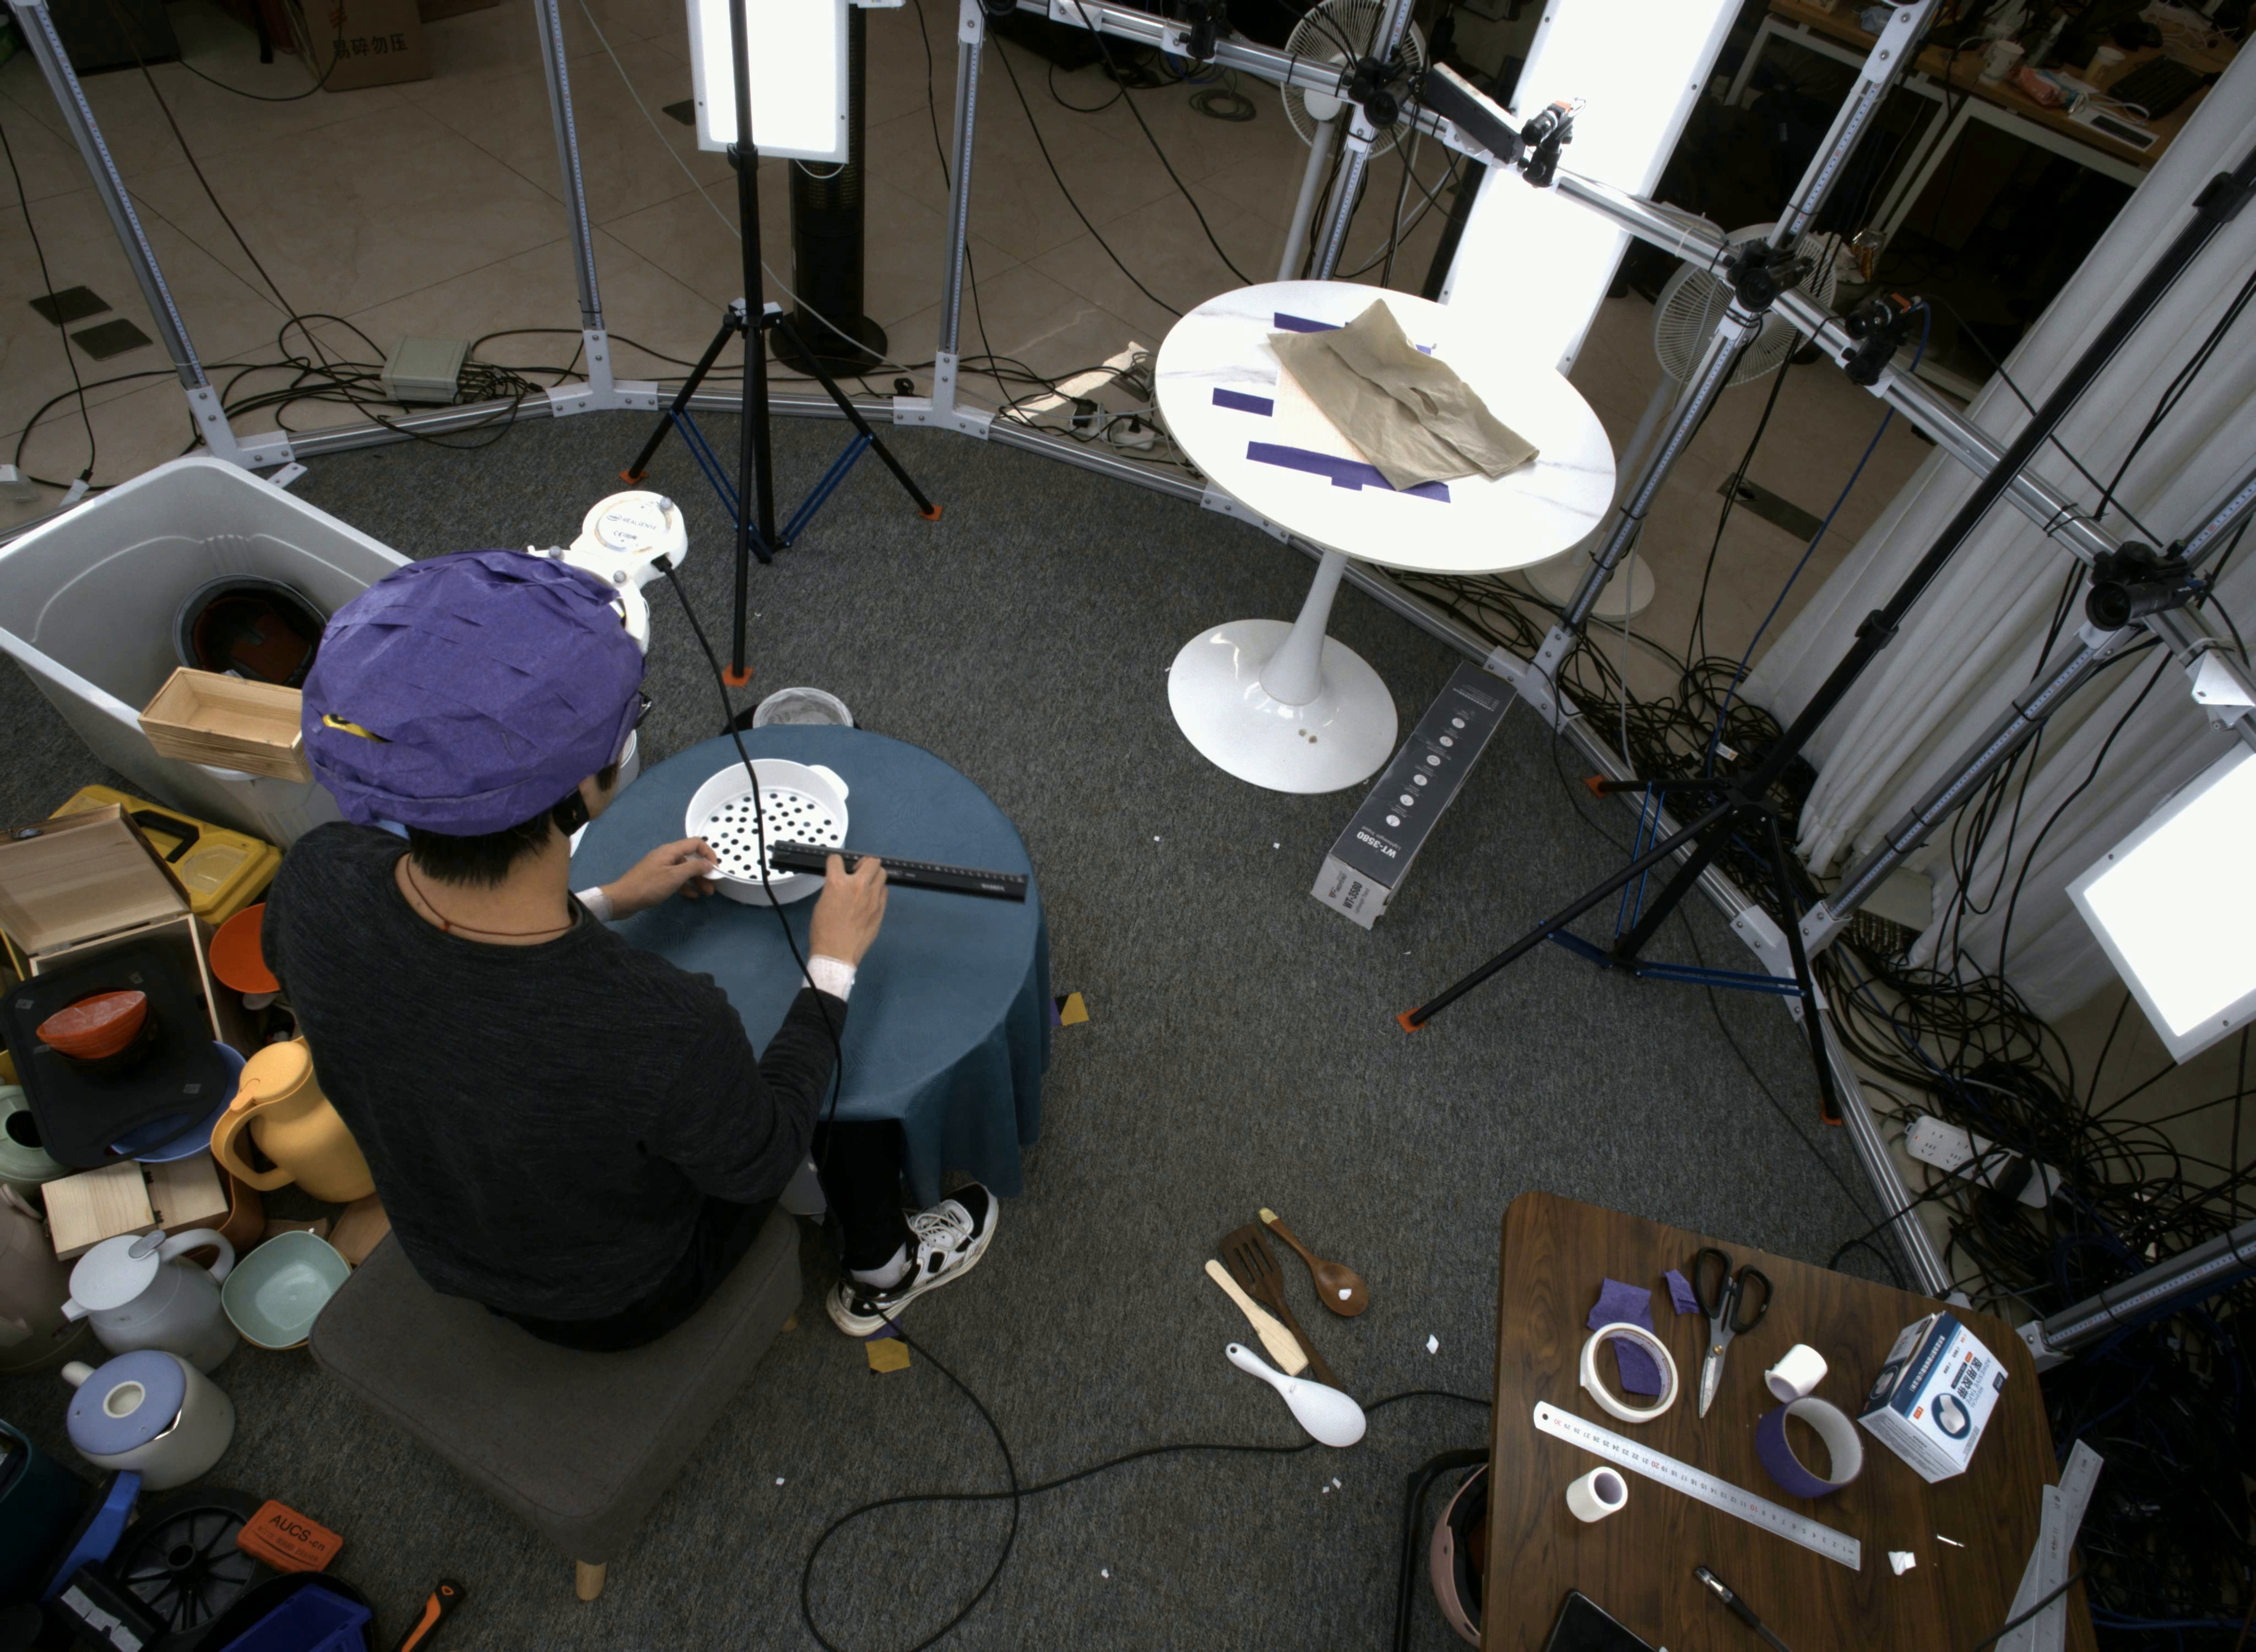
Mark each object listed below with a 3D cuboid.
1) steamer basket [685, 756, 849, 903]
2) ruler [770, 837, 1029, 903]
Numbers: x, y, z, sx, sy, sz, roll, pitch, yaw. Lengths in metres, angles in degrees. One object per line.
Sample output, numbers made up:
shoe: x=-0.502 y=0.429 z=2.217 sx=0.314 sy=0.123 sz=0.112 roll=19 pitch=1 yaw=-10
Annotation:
steamer basket: x=-0.460 y=0.004 z=1.662 sx=0.198 sy=0.070 sz=0.231 roll=40 pitch=53 yaw=16
ruler: x=-0.274 y=0.049 z=1.567 sx=0.310 sy=0.017 sz=0.039 roll=9 pitch=66 yaw=-4
